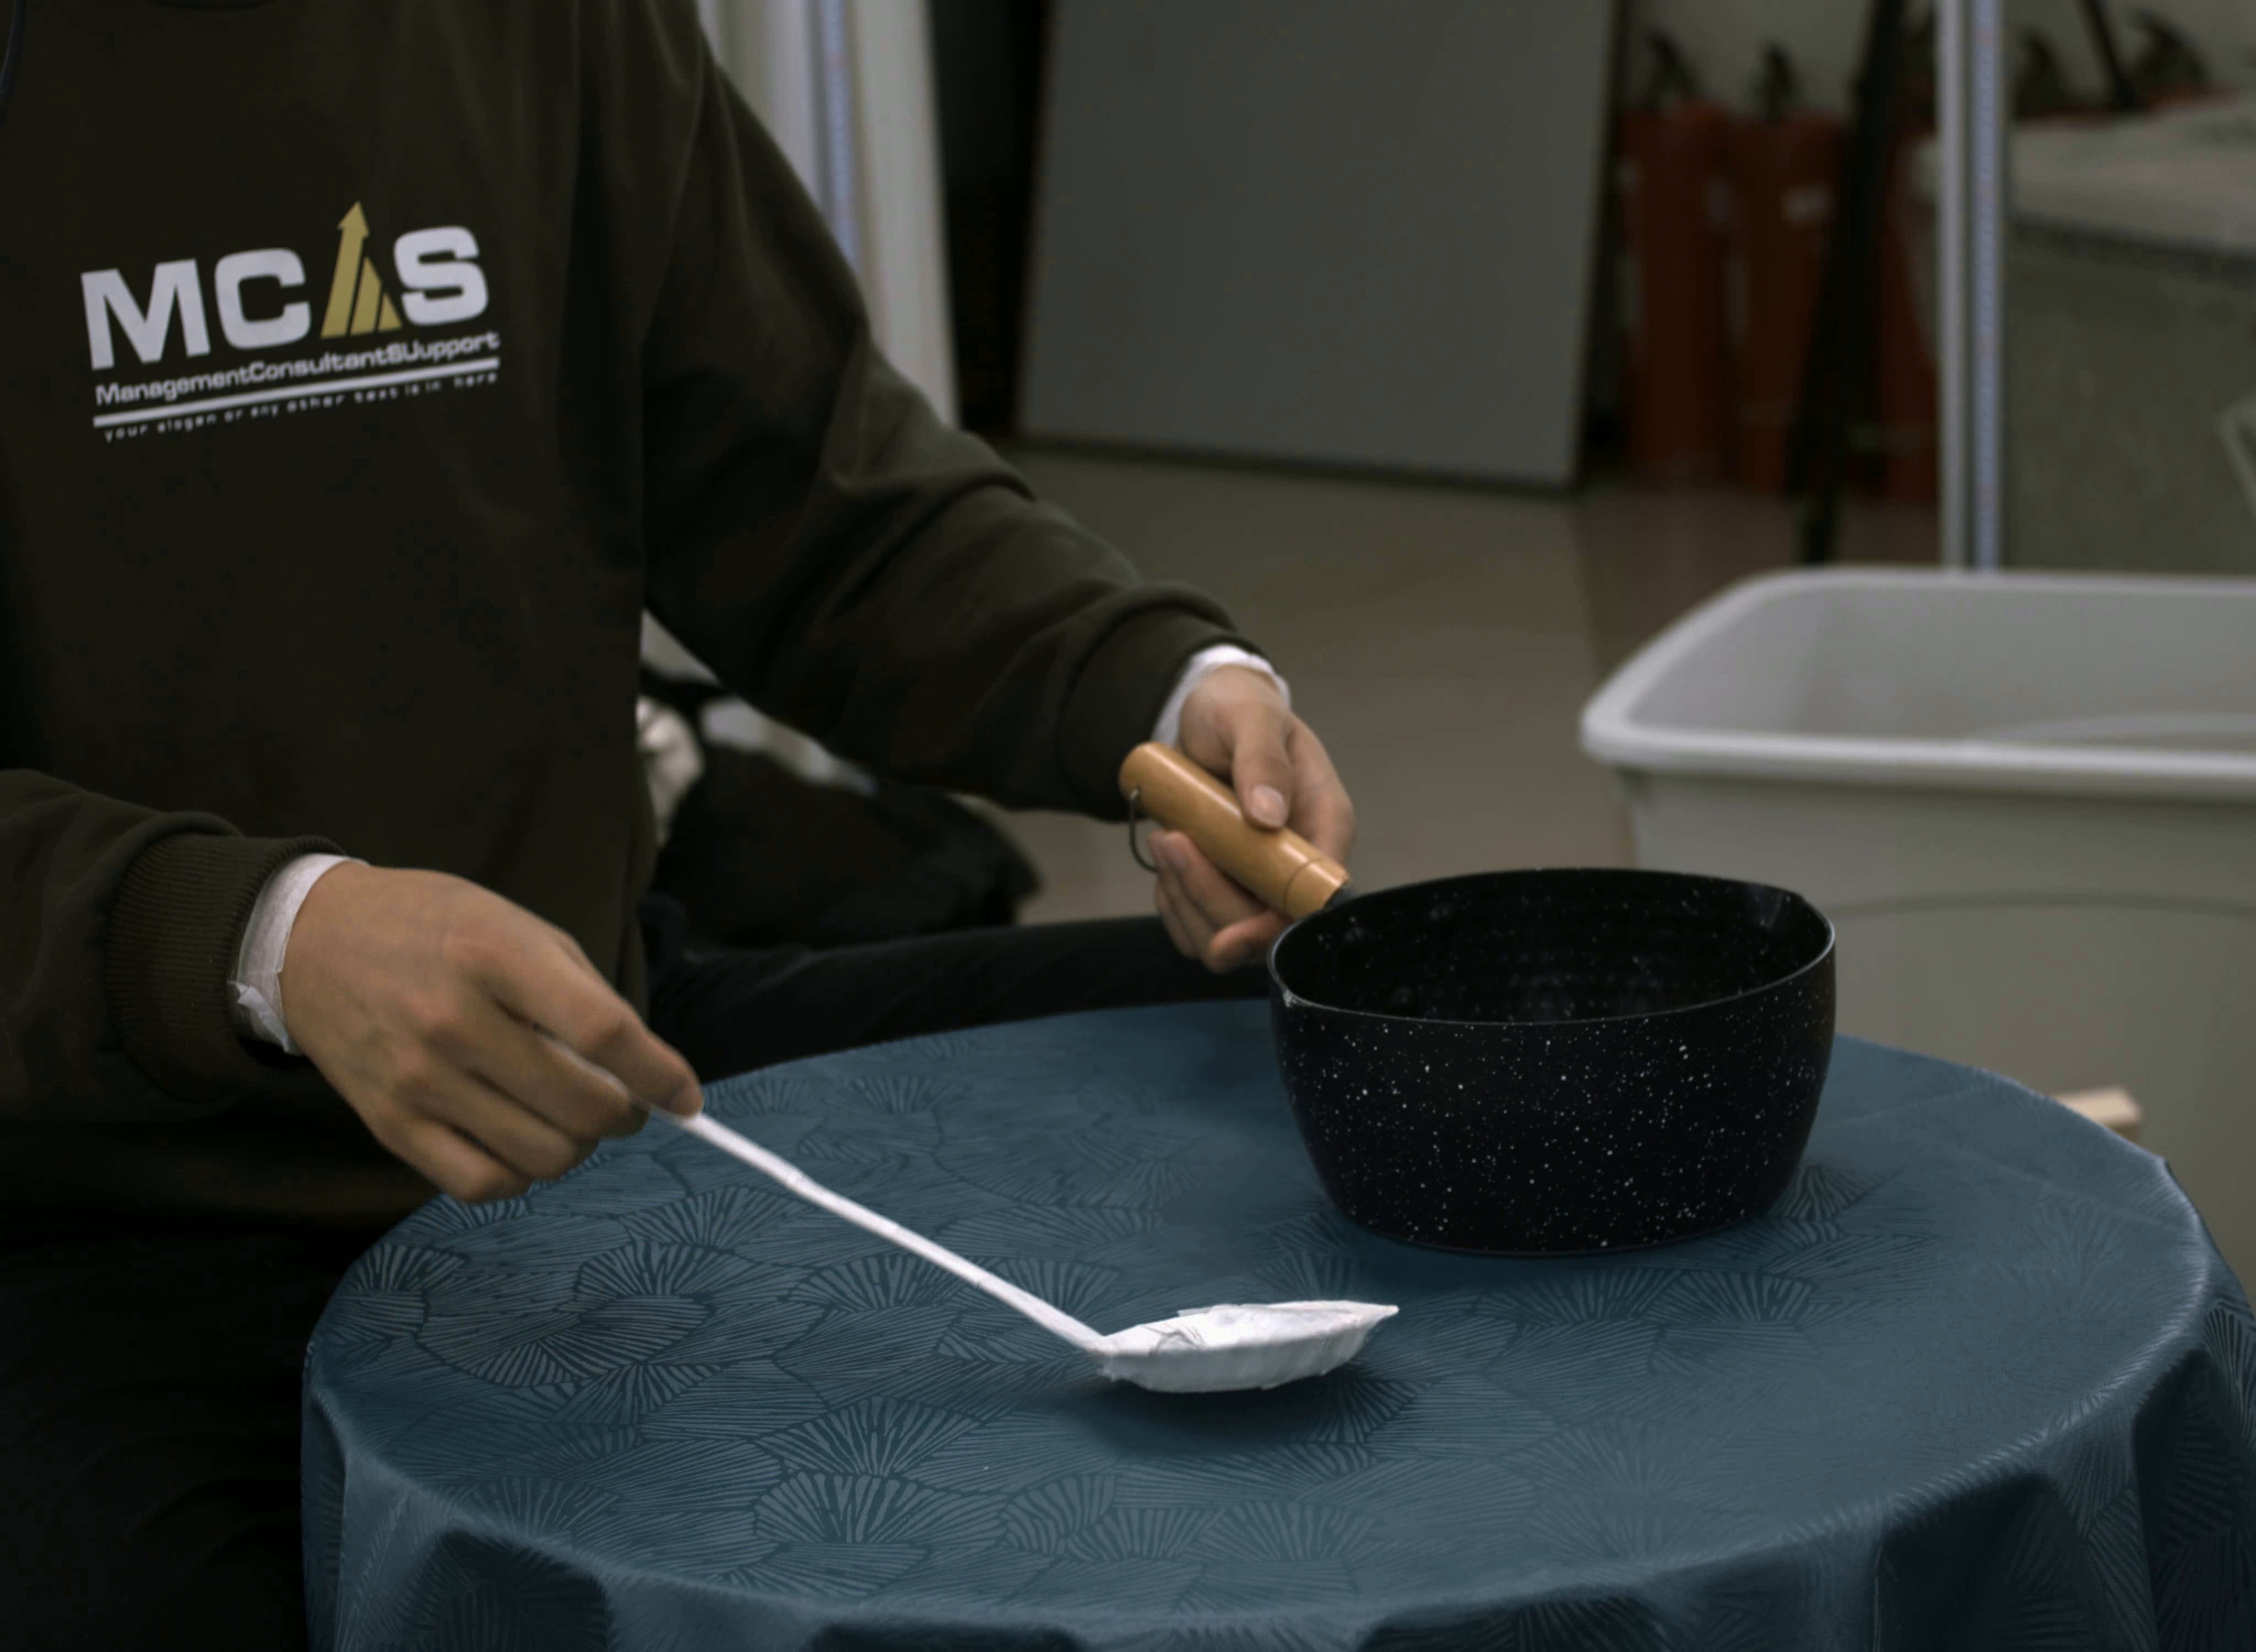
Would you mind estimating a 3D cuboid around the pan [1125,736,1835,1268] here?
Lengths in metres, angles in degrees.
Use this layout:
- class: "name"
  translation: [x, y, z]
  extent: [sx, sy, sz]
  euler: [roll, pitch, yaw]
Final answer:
- class: "pan"
  translation: [0.095, 0.052, 1.801]
  extent: [0.203, 0.109, 0.346]
  euler: [-13, 17, -29]

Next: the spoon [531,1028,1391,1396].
- class: "spoon"
  translation: [-0.052, 0.102, 1.605]
  extent: [0.278, 0.060, 0.099]
  euler: [28, 10, 17]
